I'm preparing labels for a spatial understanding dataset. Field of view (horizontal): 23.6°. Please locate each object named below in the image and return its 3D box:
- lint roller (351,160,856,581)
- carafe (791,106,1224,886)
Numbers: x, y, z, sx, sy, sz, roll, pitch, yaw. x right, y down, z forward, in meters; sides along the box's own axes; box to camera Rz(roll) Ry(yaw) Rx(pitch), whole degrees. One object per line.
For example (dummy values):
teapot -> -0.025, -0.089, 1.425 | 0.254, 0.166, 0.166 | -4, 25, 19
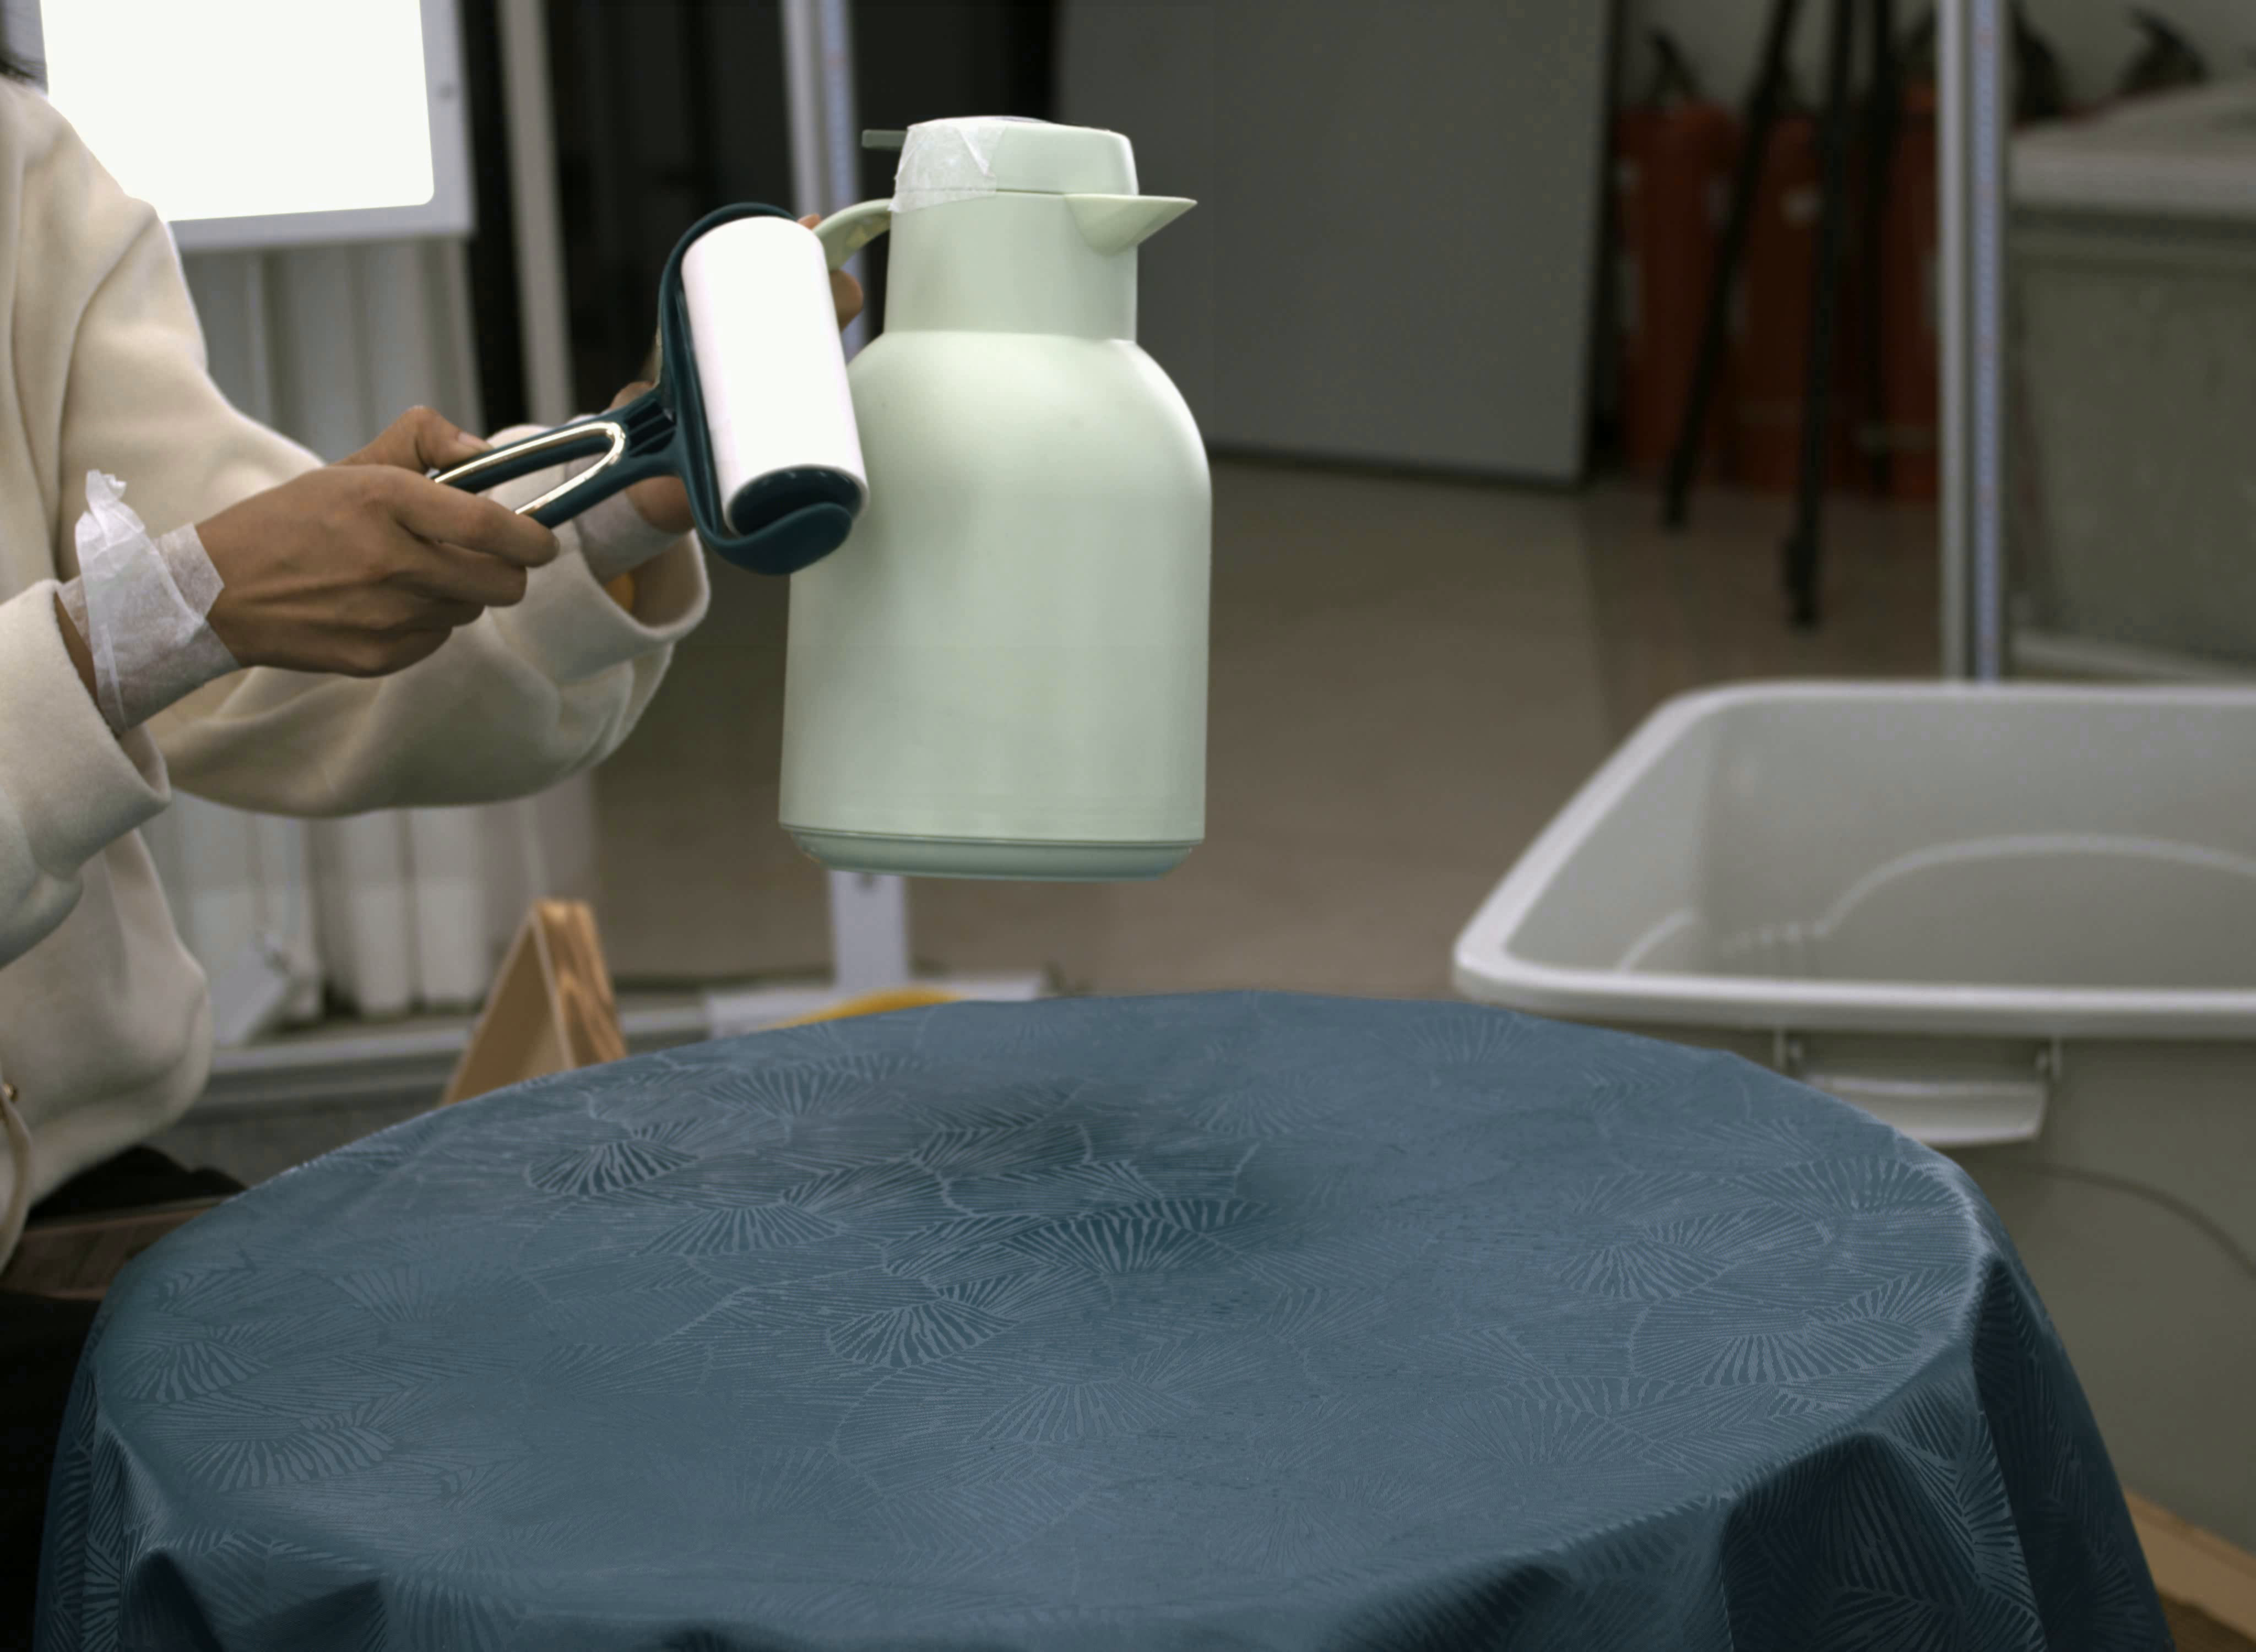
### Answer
lint roller -> -0.178, -0.126, 1.743 | 0.179, 0.136, 0.048 | -19, -33, 12
carafe -> -0.051, -0.110, 1.827 | 0.188, 0.260, 0.141 | -2, 0, 39
